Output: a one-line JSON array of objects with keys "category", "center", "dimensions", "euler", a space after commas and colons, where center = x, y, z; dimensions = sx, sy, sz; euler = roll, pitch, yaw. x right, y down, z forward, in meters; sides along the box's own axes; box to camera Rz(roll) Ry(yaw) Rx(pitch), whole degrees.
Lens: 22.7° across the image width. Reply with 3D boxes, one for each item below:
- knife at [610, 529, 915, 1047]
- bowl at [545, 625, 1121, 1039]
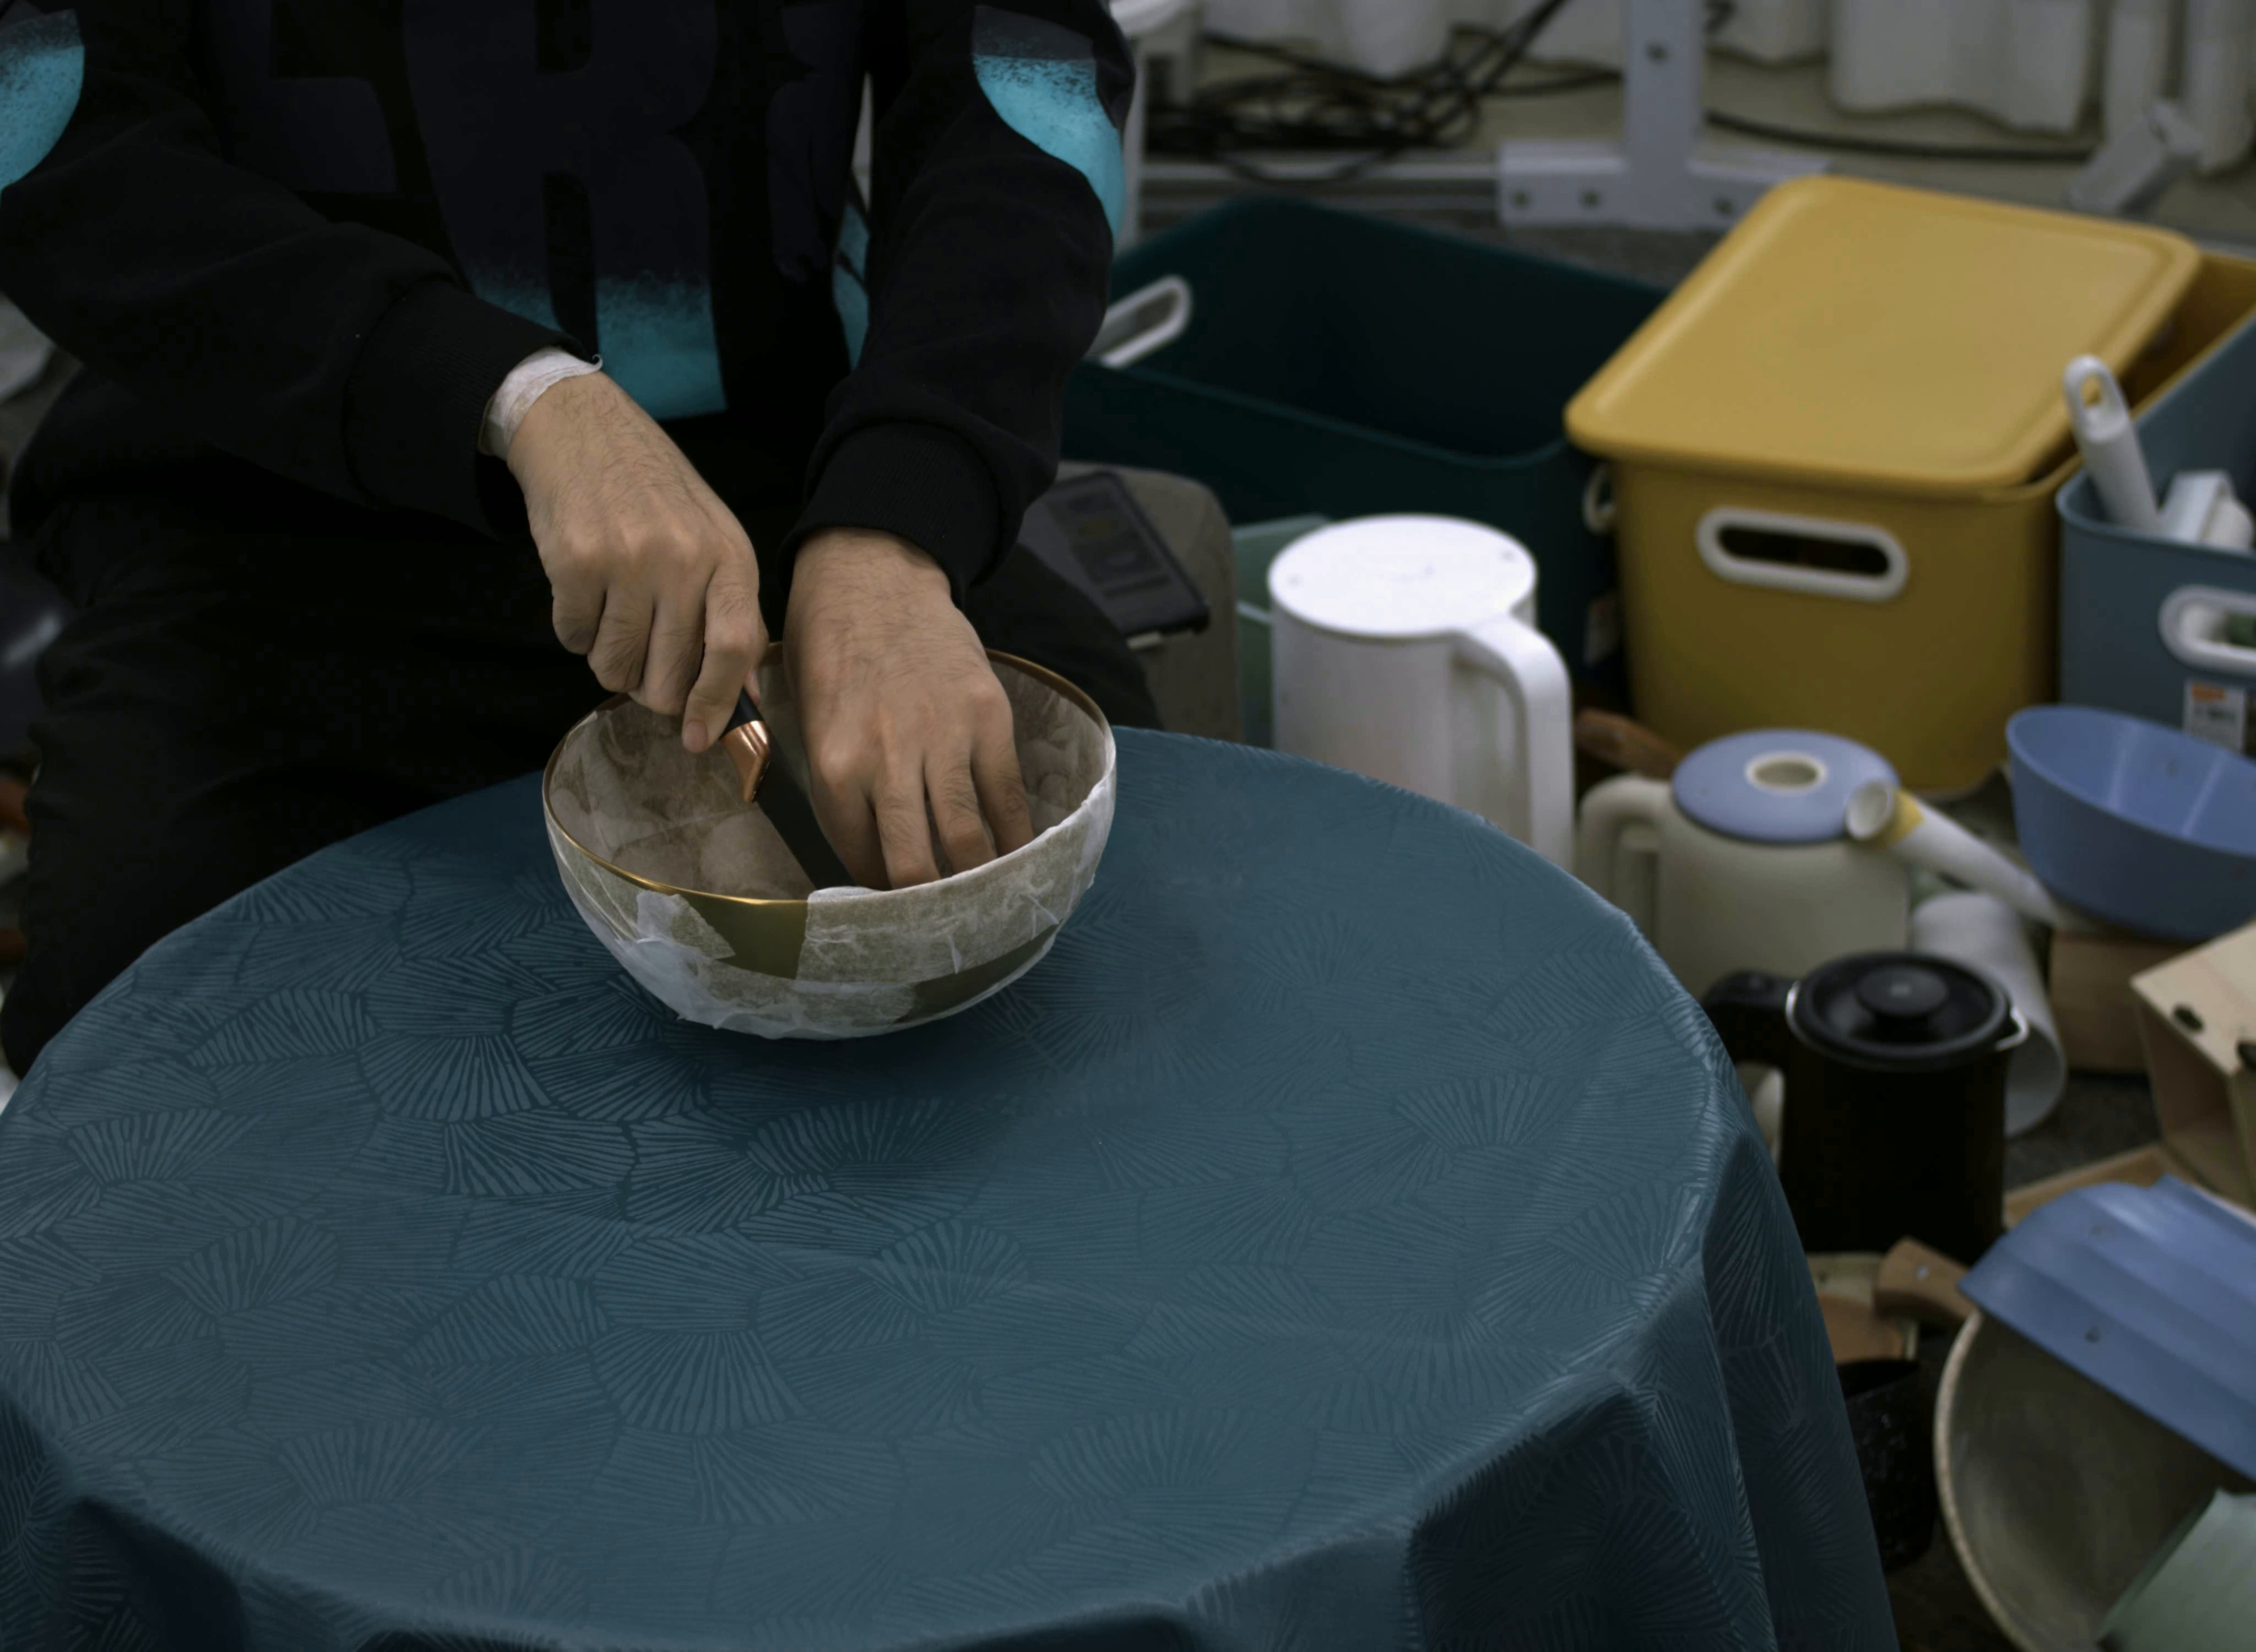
[{"category": "knife", "center": [-0.126, -0.015, 1.970], "dimensions": [0.017, 0.026, 0.228], "euler": [-11, 57, -37]}, {"category": "bowl", "center": [-0.102, 0.013, 1.977], "dimensions": [0.213, 0.093, 0.218], "euler": [-3, 29, 2]}]
